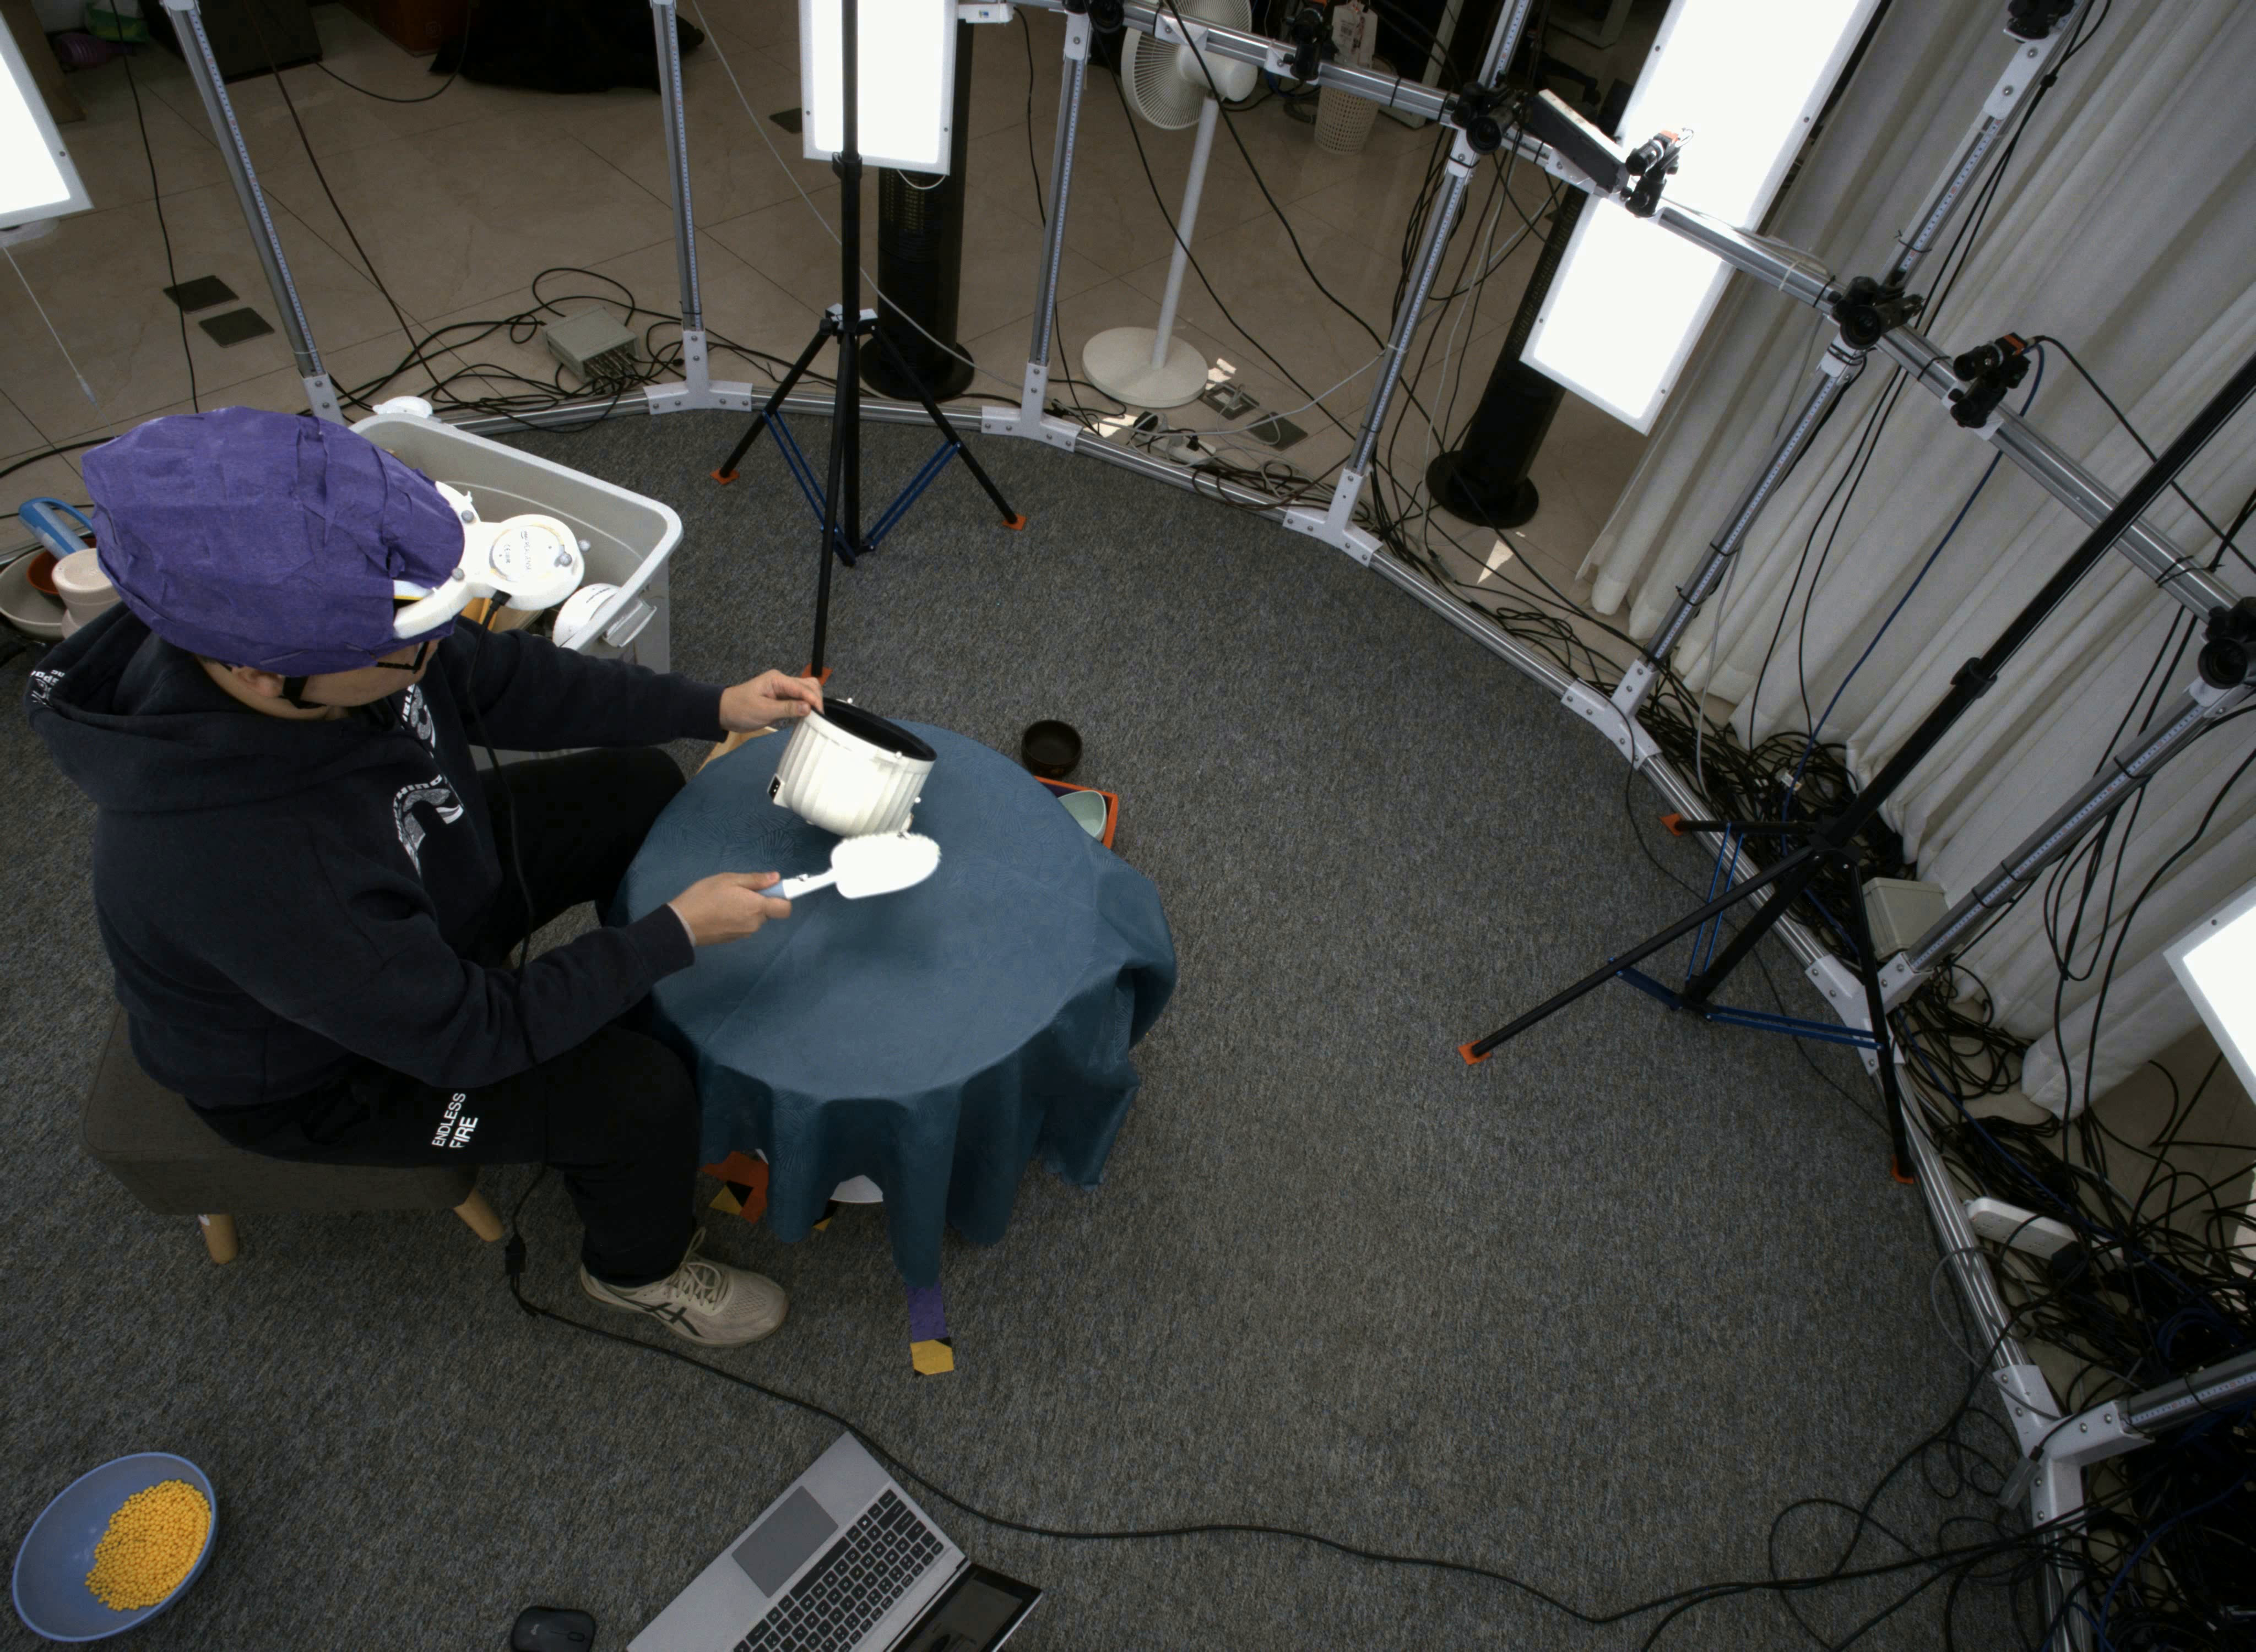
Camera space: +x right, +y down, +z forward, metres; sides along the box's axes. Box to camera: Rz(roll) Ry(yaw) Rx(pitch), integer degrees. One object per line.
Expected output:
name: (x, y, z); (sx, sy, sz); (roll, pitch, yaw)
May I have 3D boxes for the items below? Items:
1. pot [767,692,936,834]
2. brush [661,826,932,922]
pot: (-0.353, -0.069, 1.672); (0.195, 0.144, 0.231); (16, 16, -35)
brush: (-0.397, 0.054, 1.561); (0.325, 0.086, 0.082); (-13, 68, -13)
